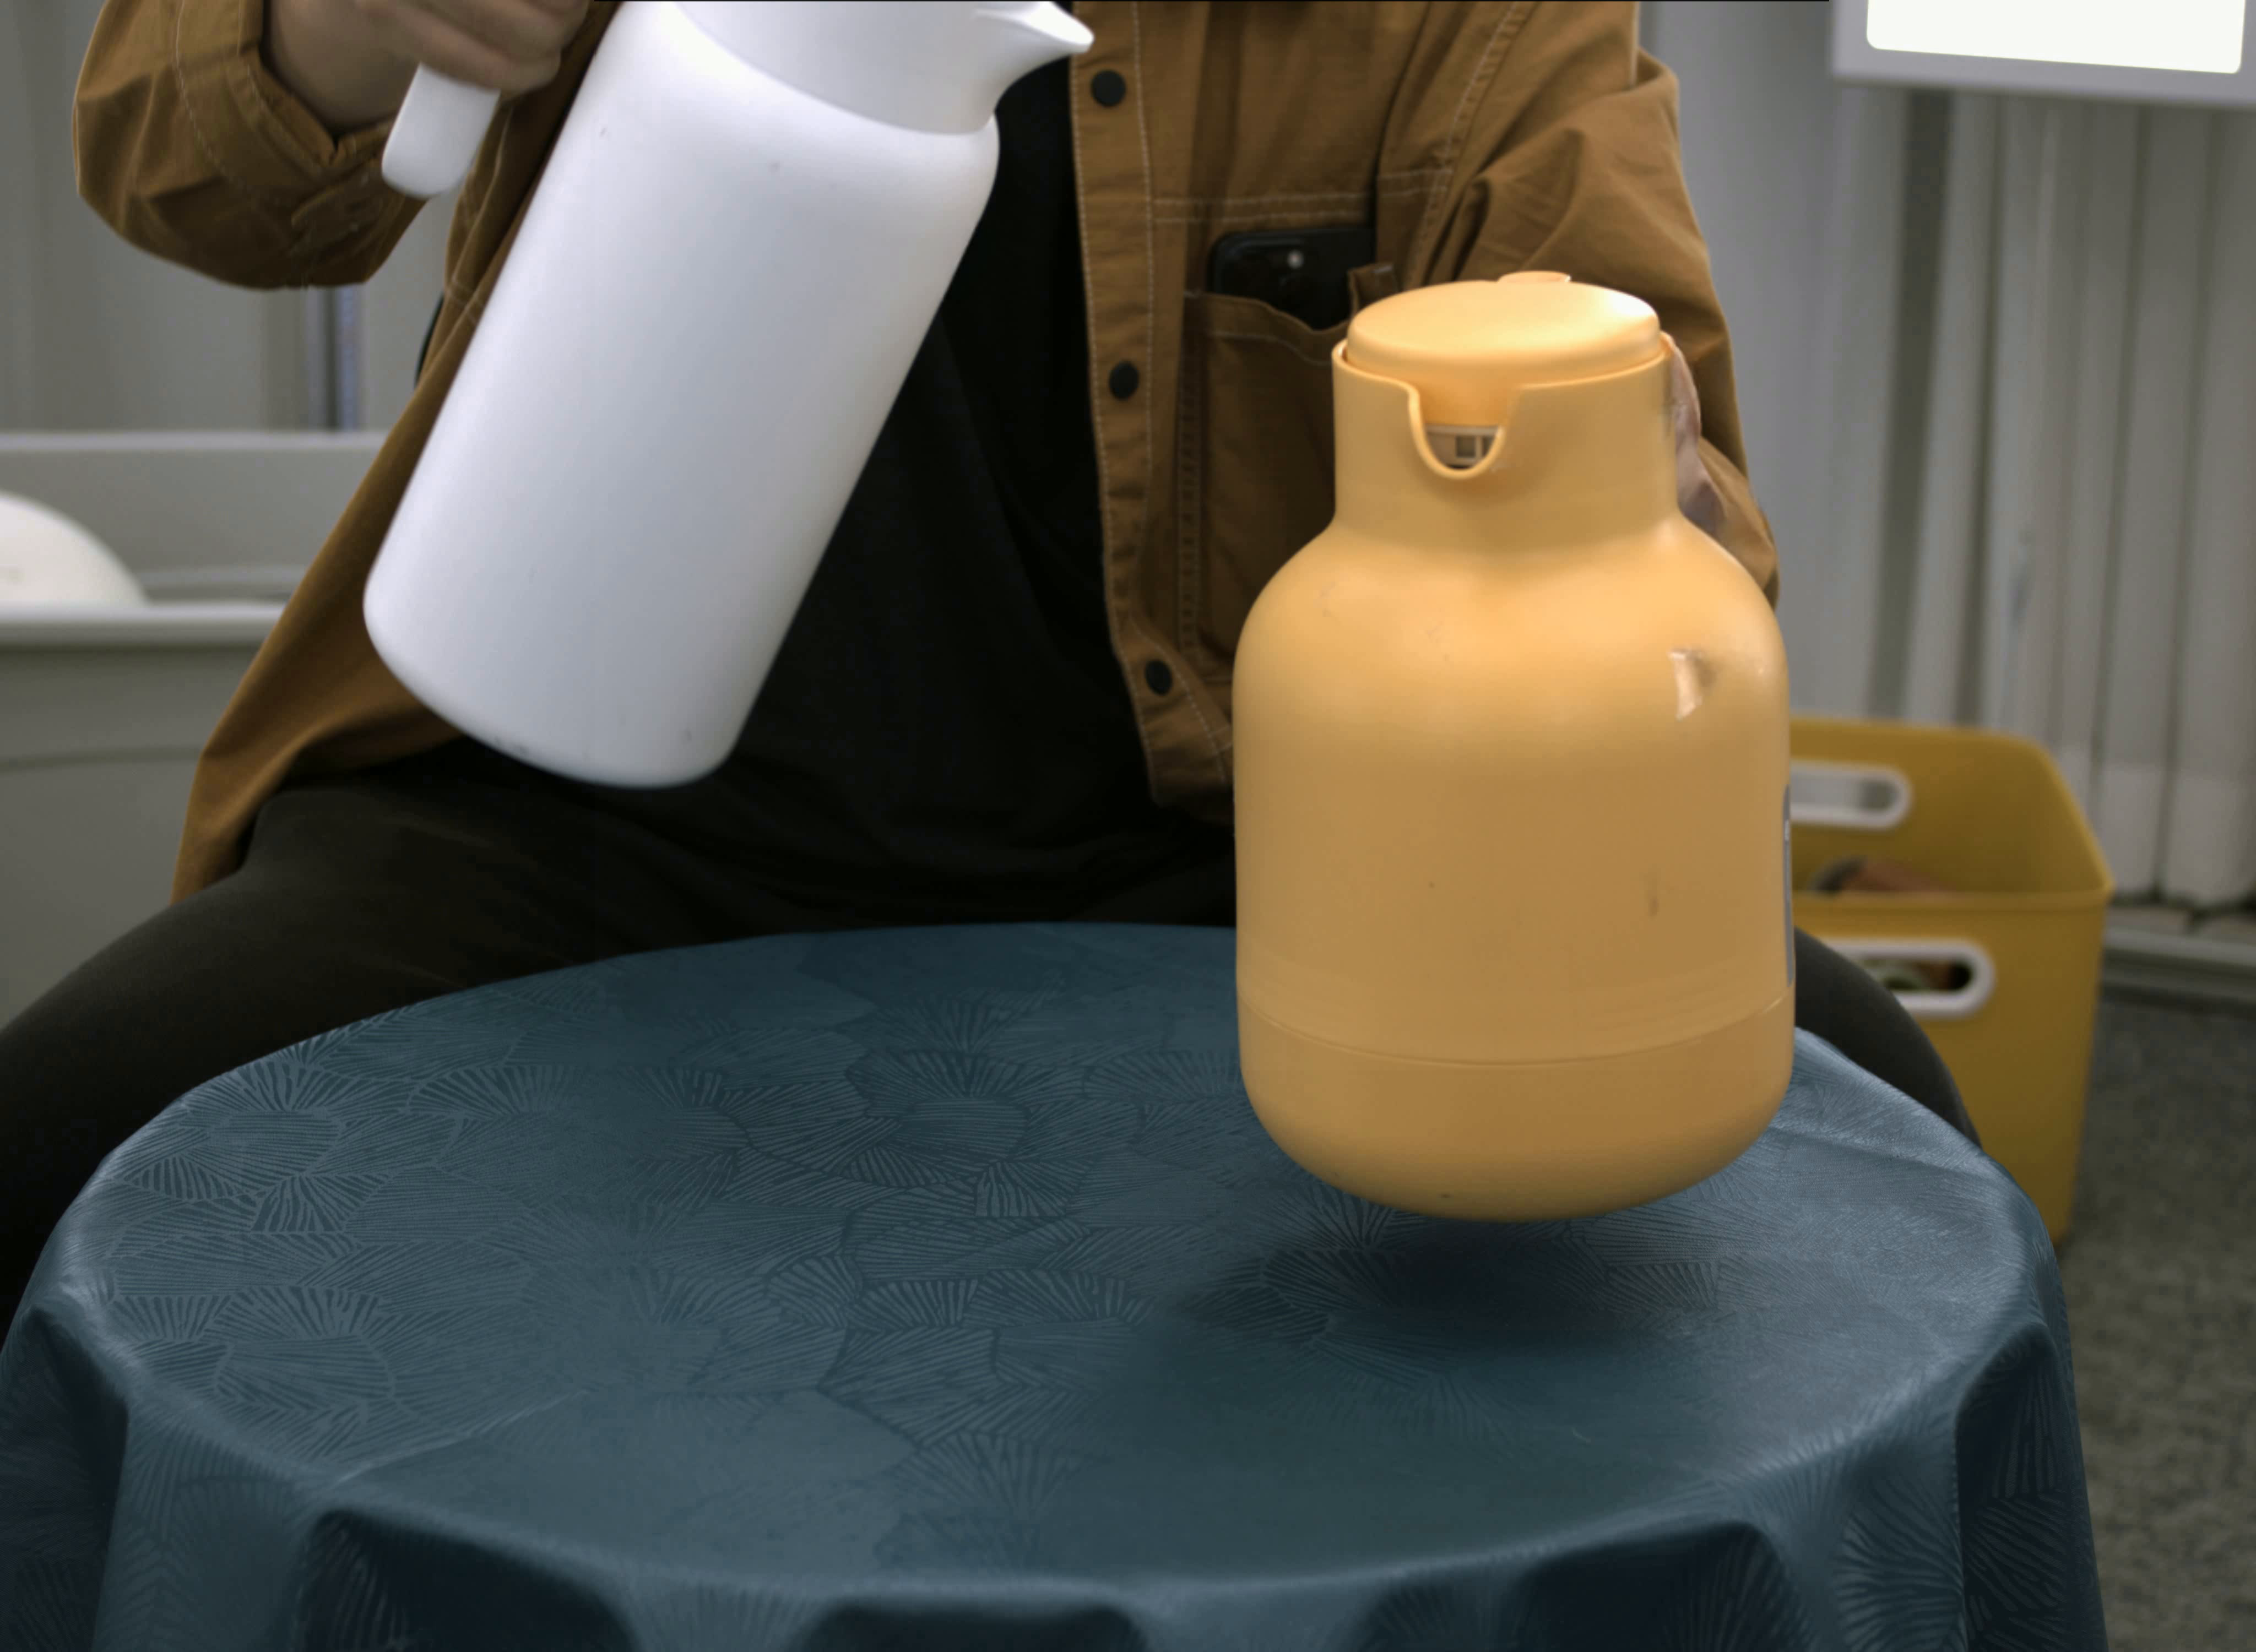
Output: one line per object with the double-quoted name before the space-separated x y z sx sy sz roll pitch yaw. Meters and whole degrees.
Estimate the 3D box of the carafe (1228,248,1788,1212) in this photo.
"carafe" 0.116 -0.036 1.529 0.162 0.263 0.202 5 21 15

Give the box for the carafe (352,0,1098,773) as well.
"carafe" -0.134 -0.162 1.489 0.172 0.270 0.123 30 25 6
